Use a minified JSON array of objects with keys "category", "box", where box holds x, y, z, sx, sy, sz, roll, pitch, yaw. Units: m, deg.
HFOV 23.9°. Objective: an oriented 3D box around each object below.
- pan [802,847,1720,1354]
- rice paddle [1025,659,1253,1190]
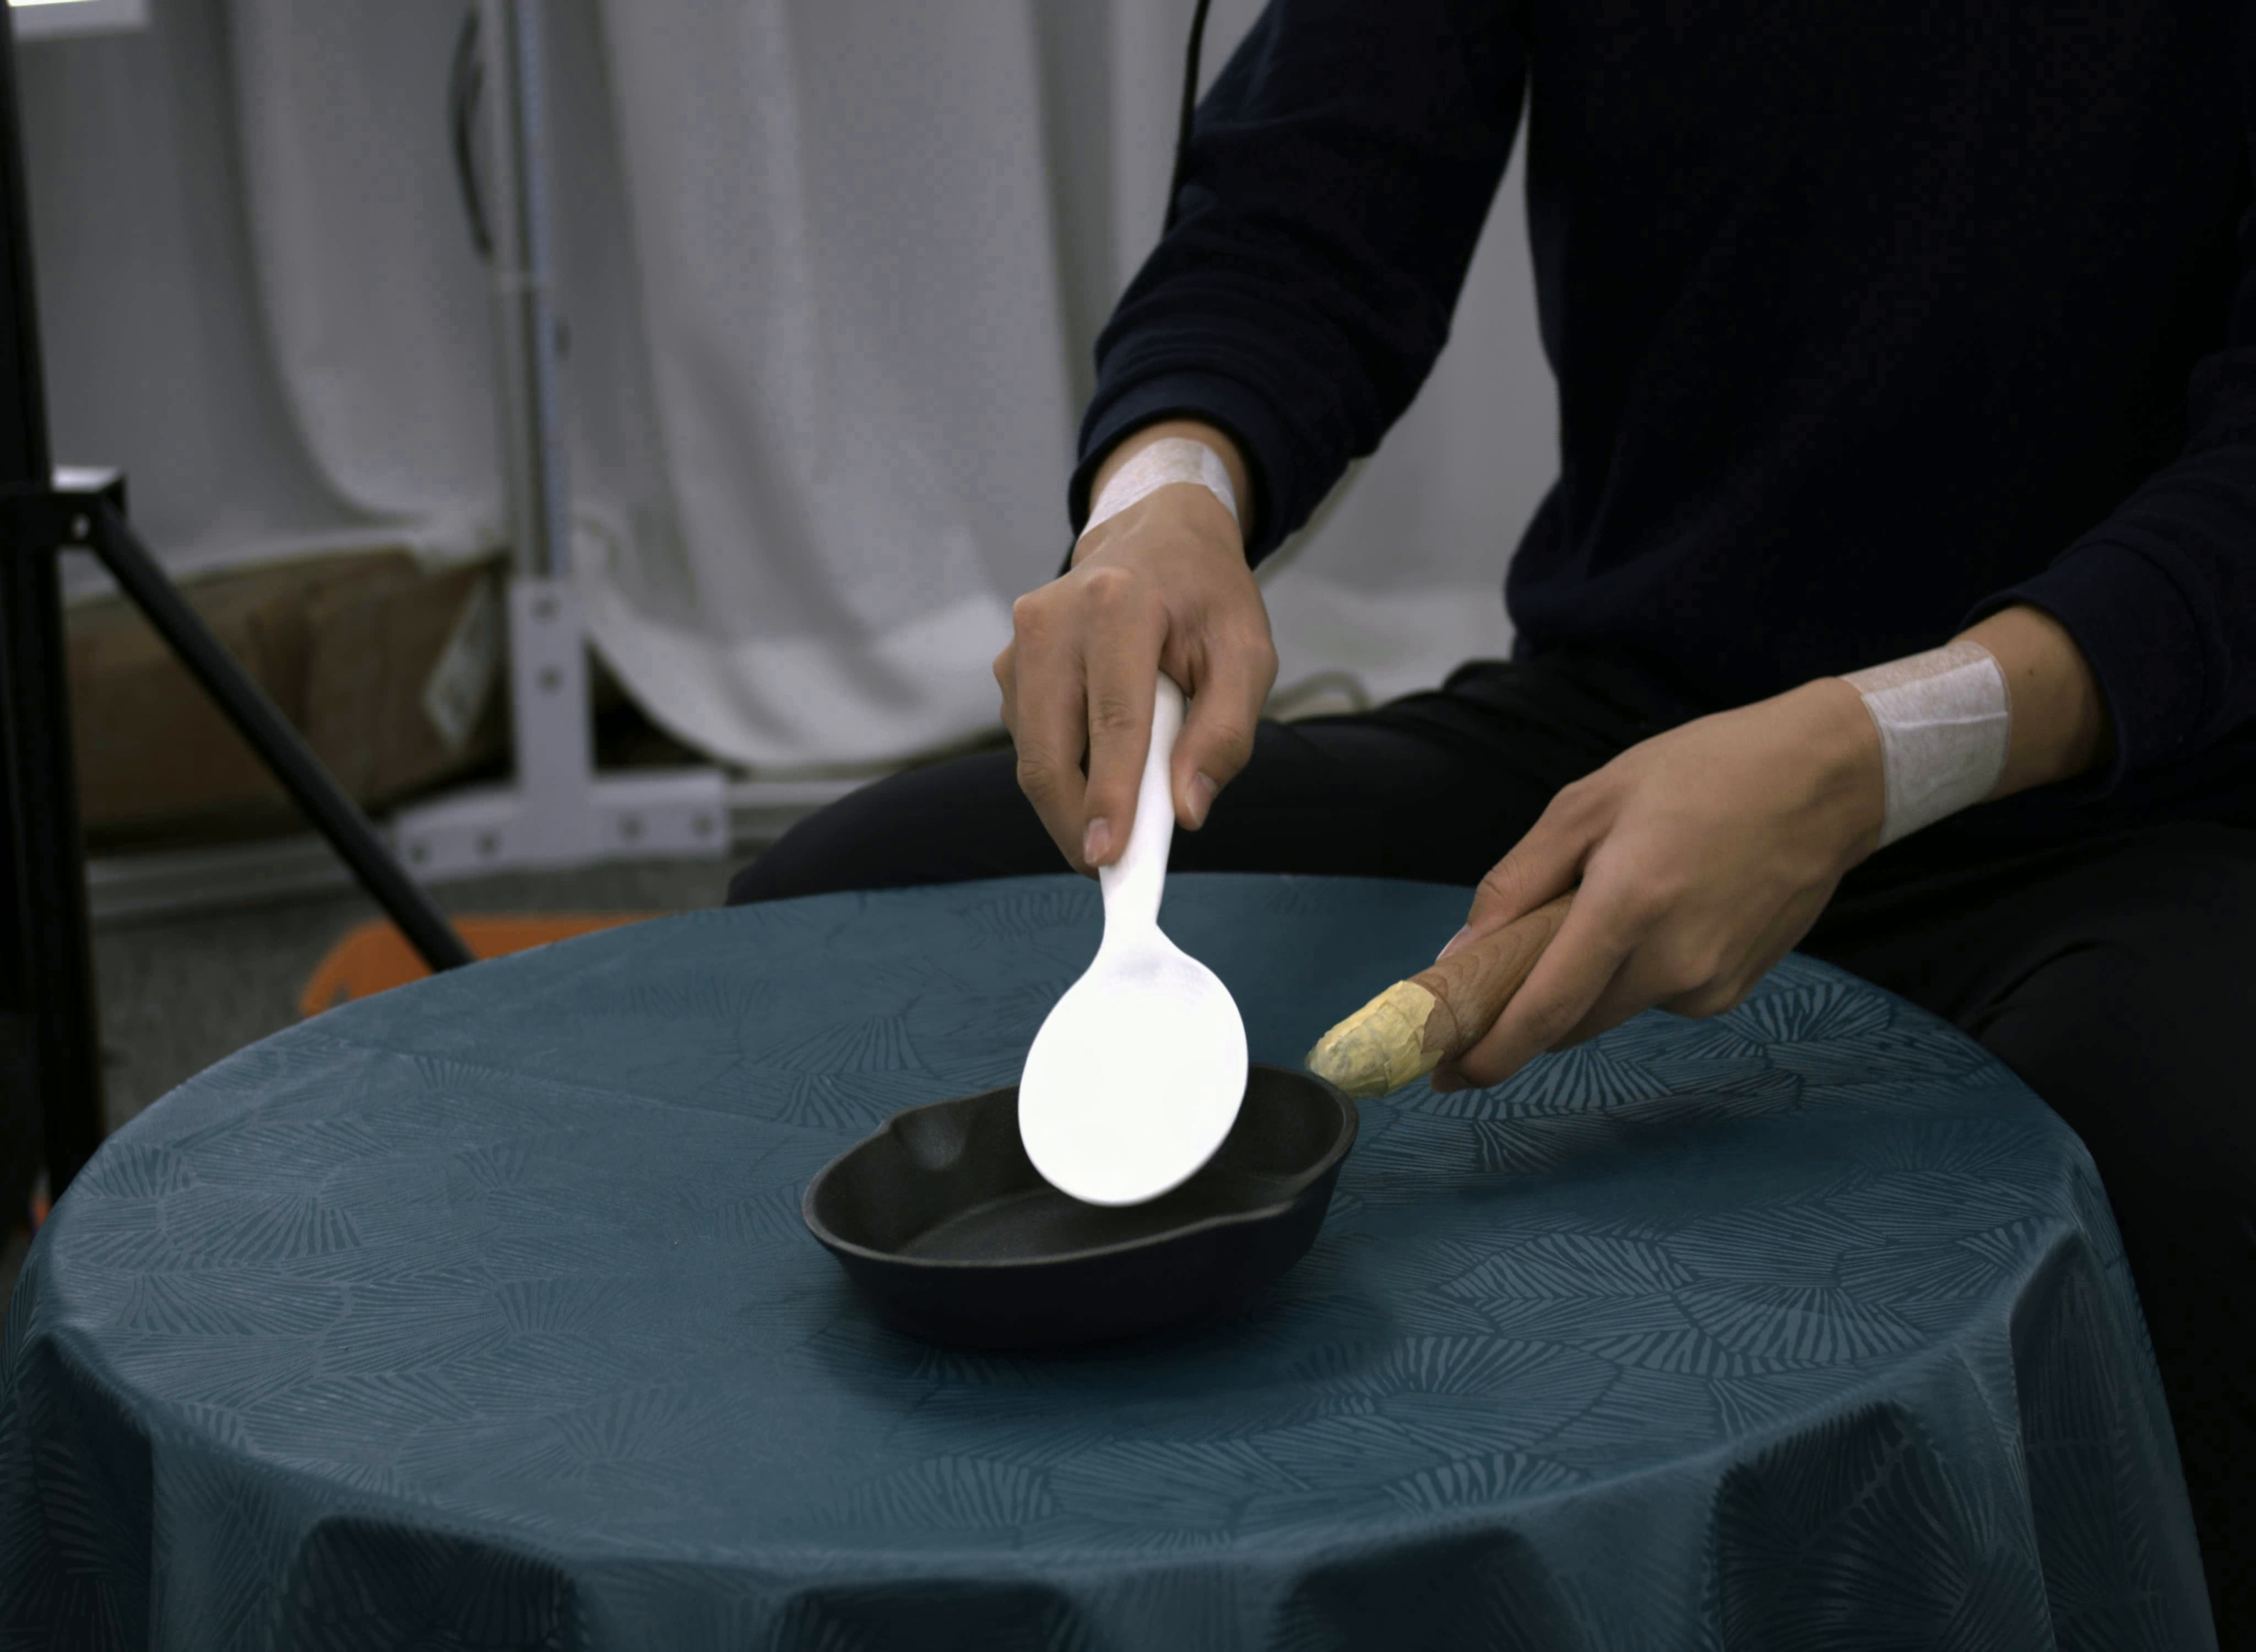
[{"category":"pan","box":[0.054,0.076,1.518,0.318,0.049,0.172,-21,20,-30]},{"category":"rice paddle","box":[0.002,0.029,1.548,0.069,0.029,0.207,-16,41,14]}]
